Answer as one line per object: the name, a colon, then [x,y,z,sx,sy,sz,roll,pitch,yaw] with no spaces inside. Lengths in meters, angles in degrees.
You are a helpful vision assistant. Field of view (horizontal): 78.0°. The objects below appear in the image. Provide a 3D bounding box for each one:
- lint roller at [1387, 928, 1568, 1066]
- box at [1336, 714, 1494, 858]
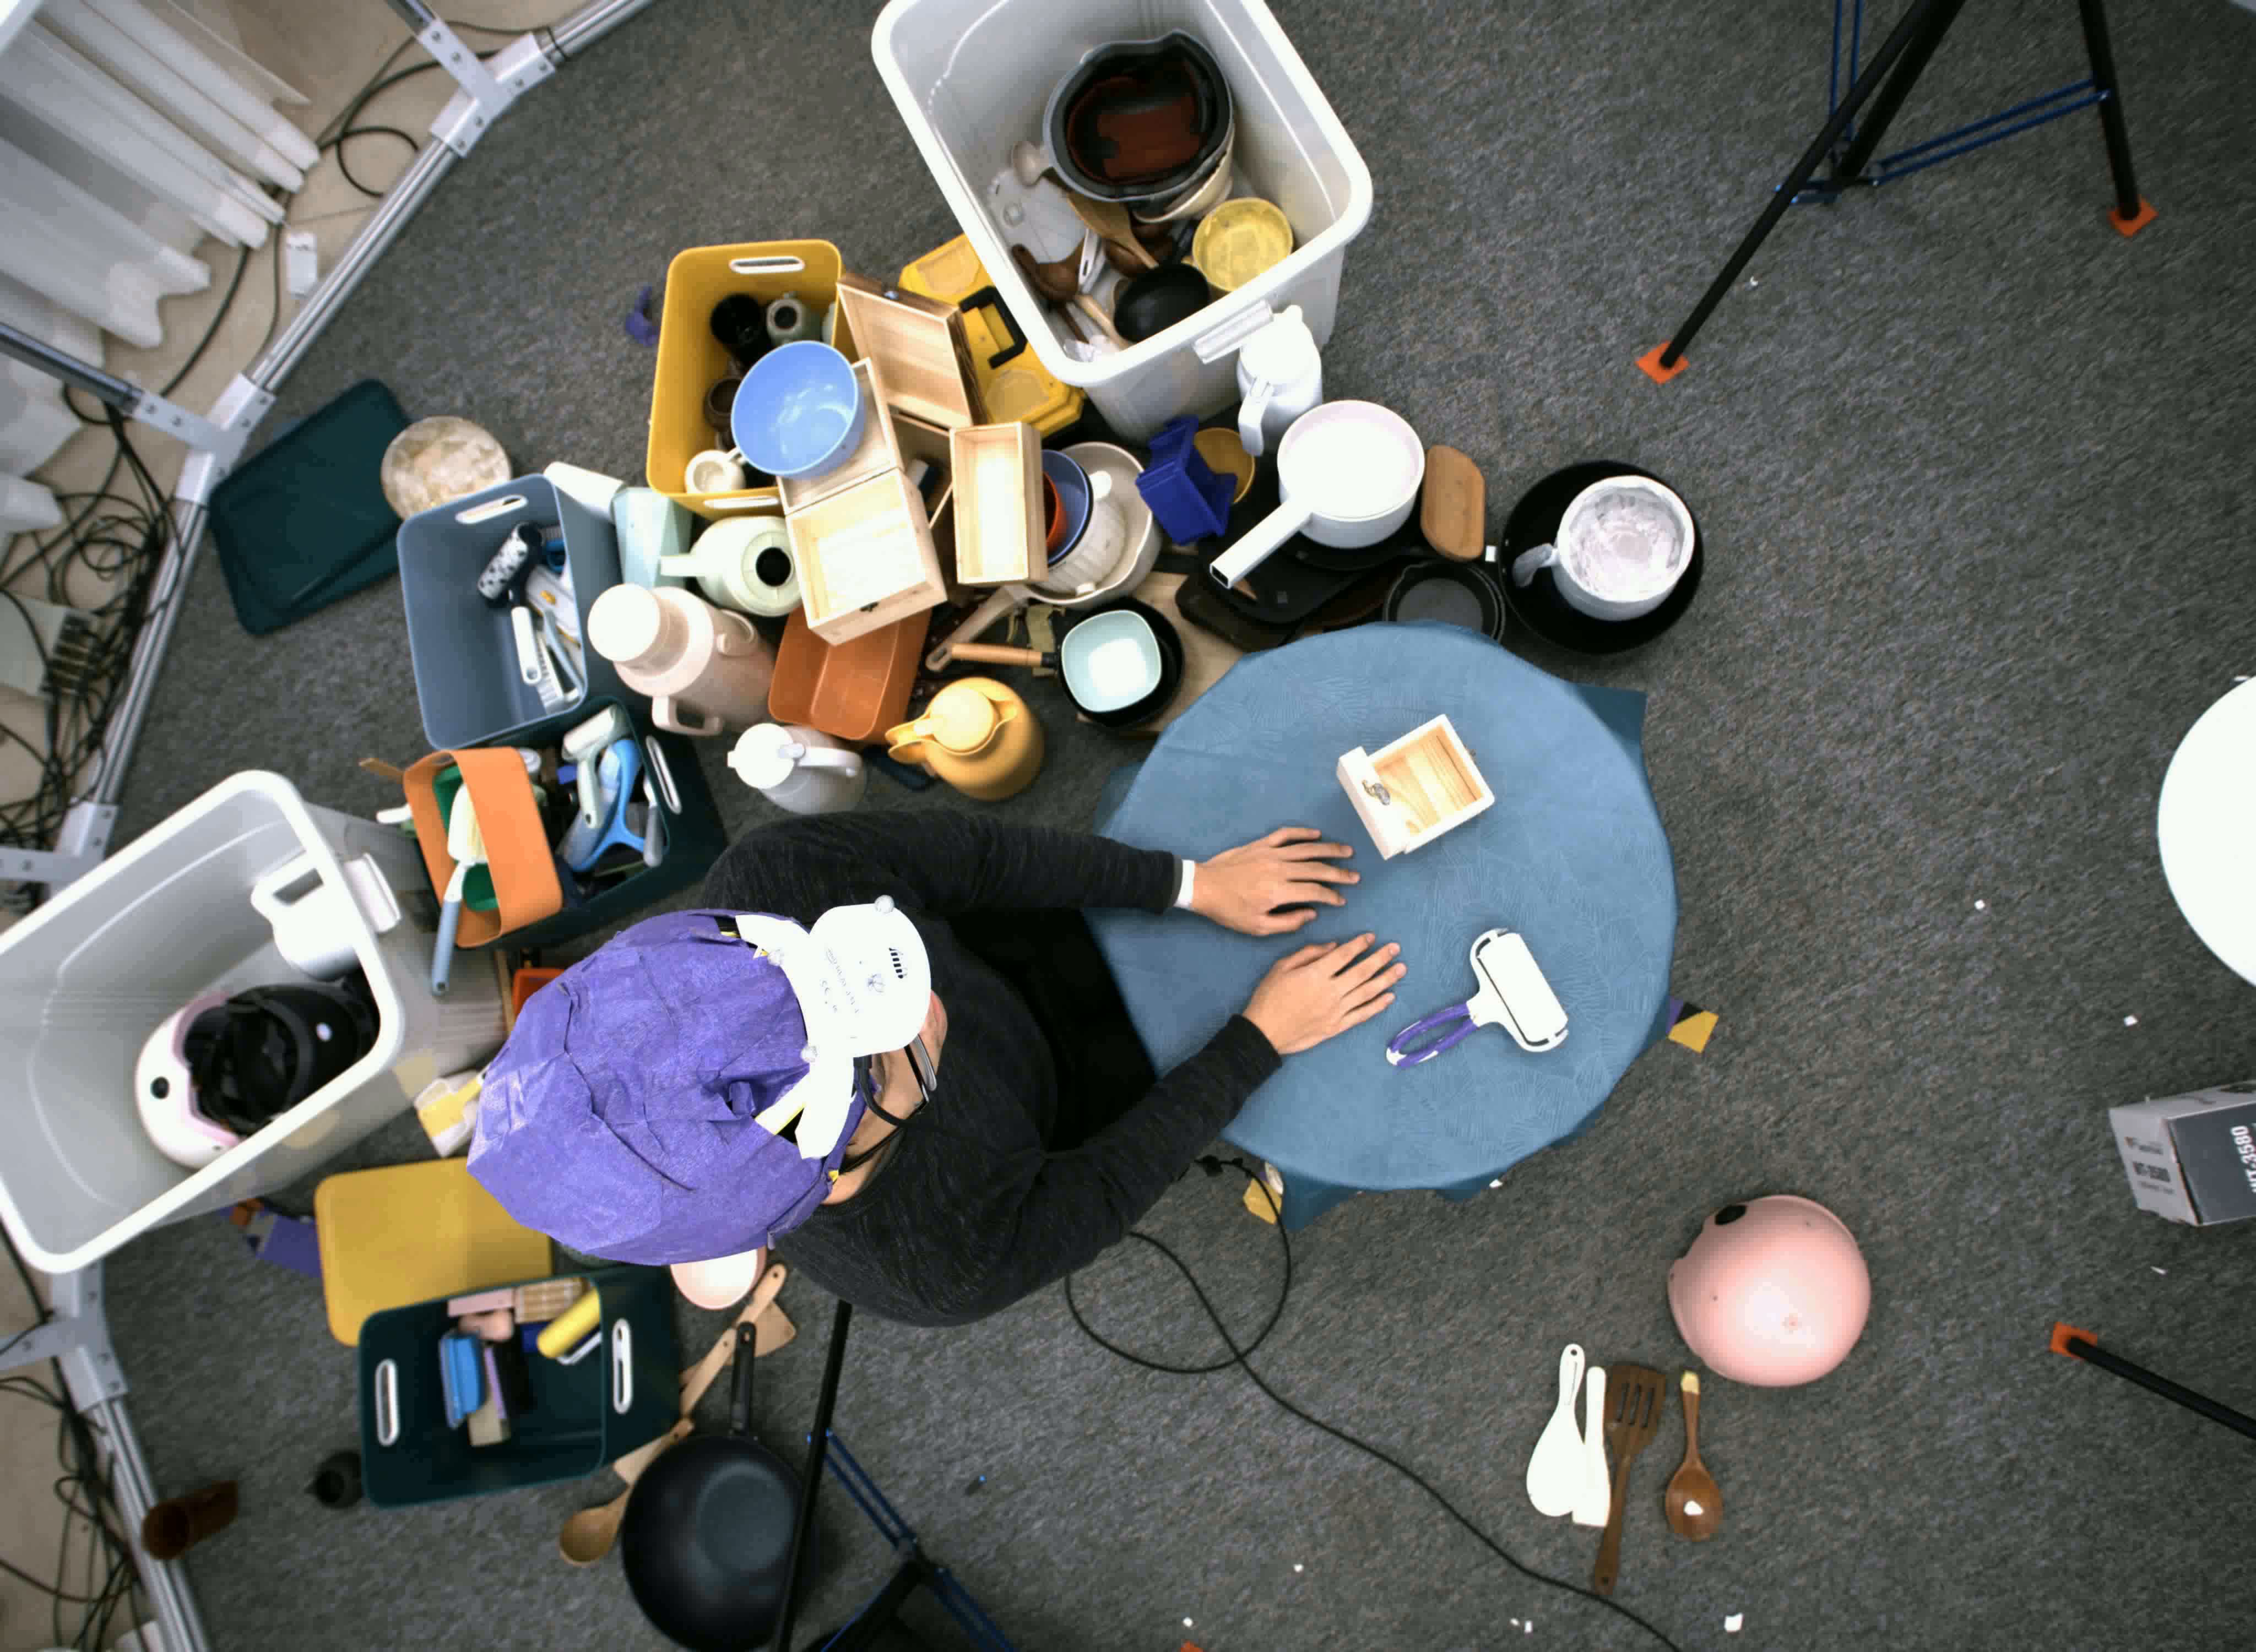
lint roller: [0.346,0.194,1.415,0.181,0.050,0.132,-28,83,6]
box: [0.289,-0.044,1.370,0.134,0.184,0.102,-30,80,7]
